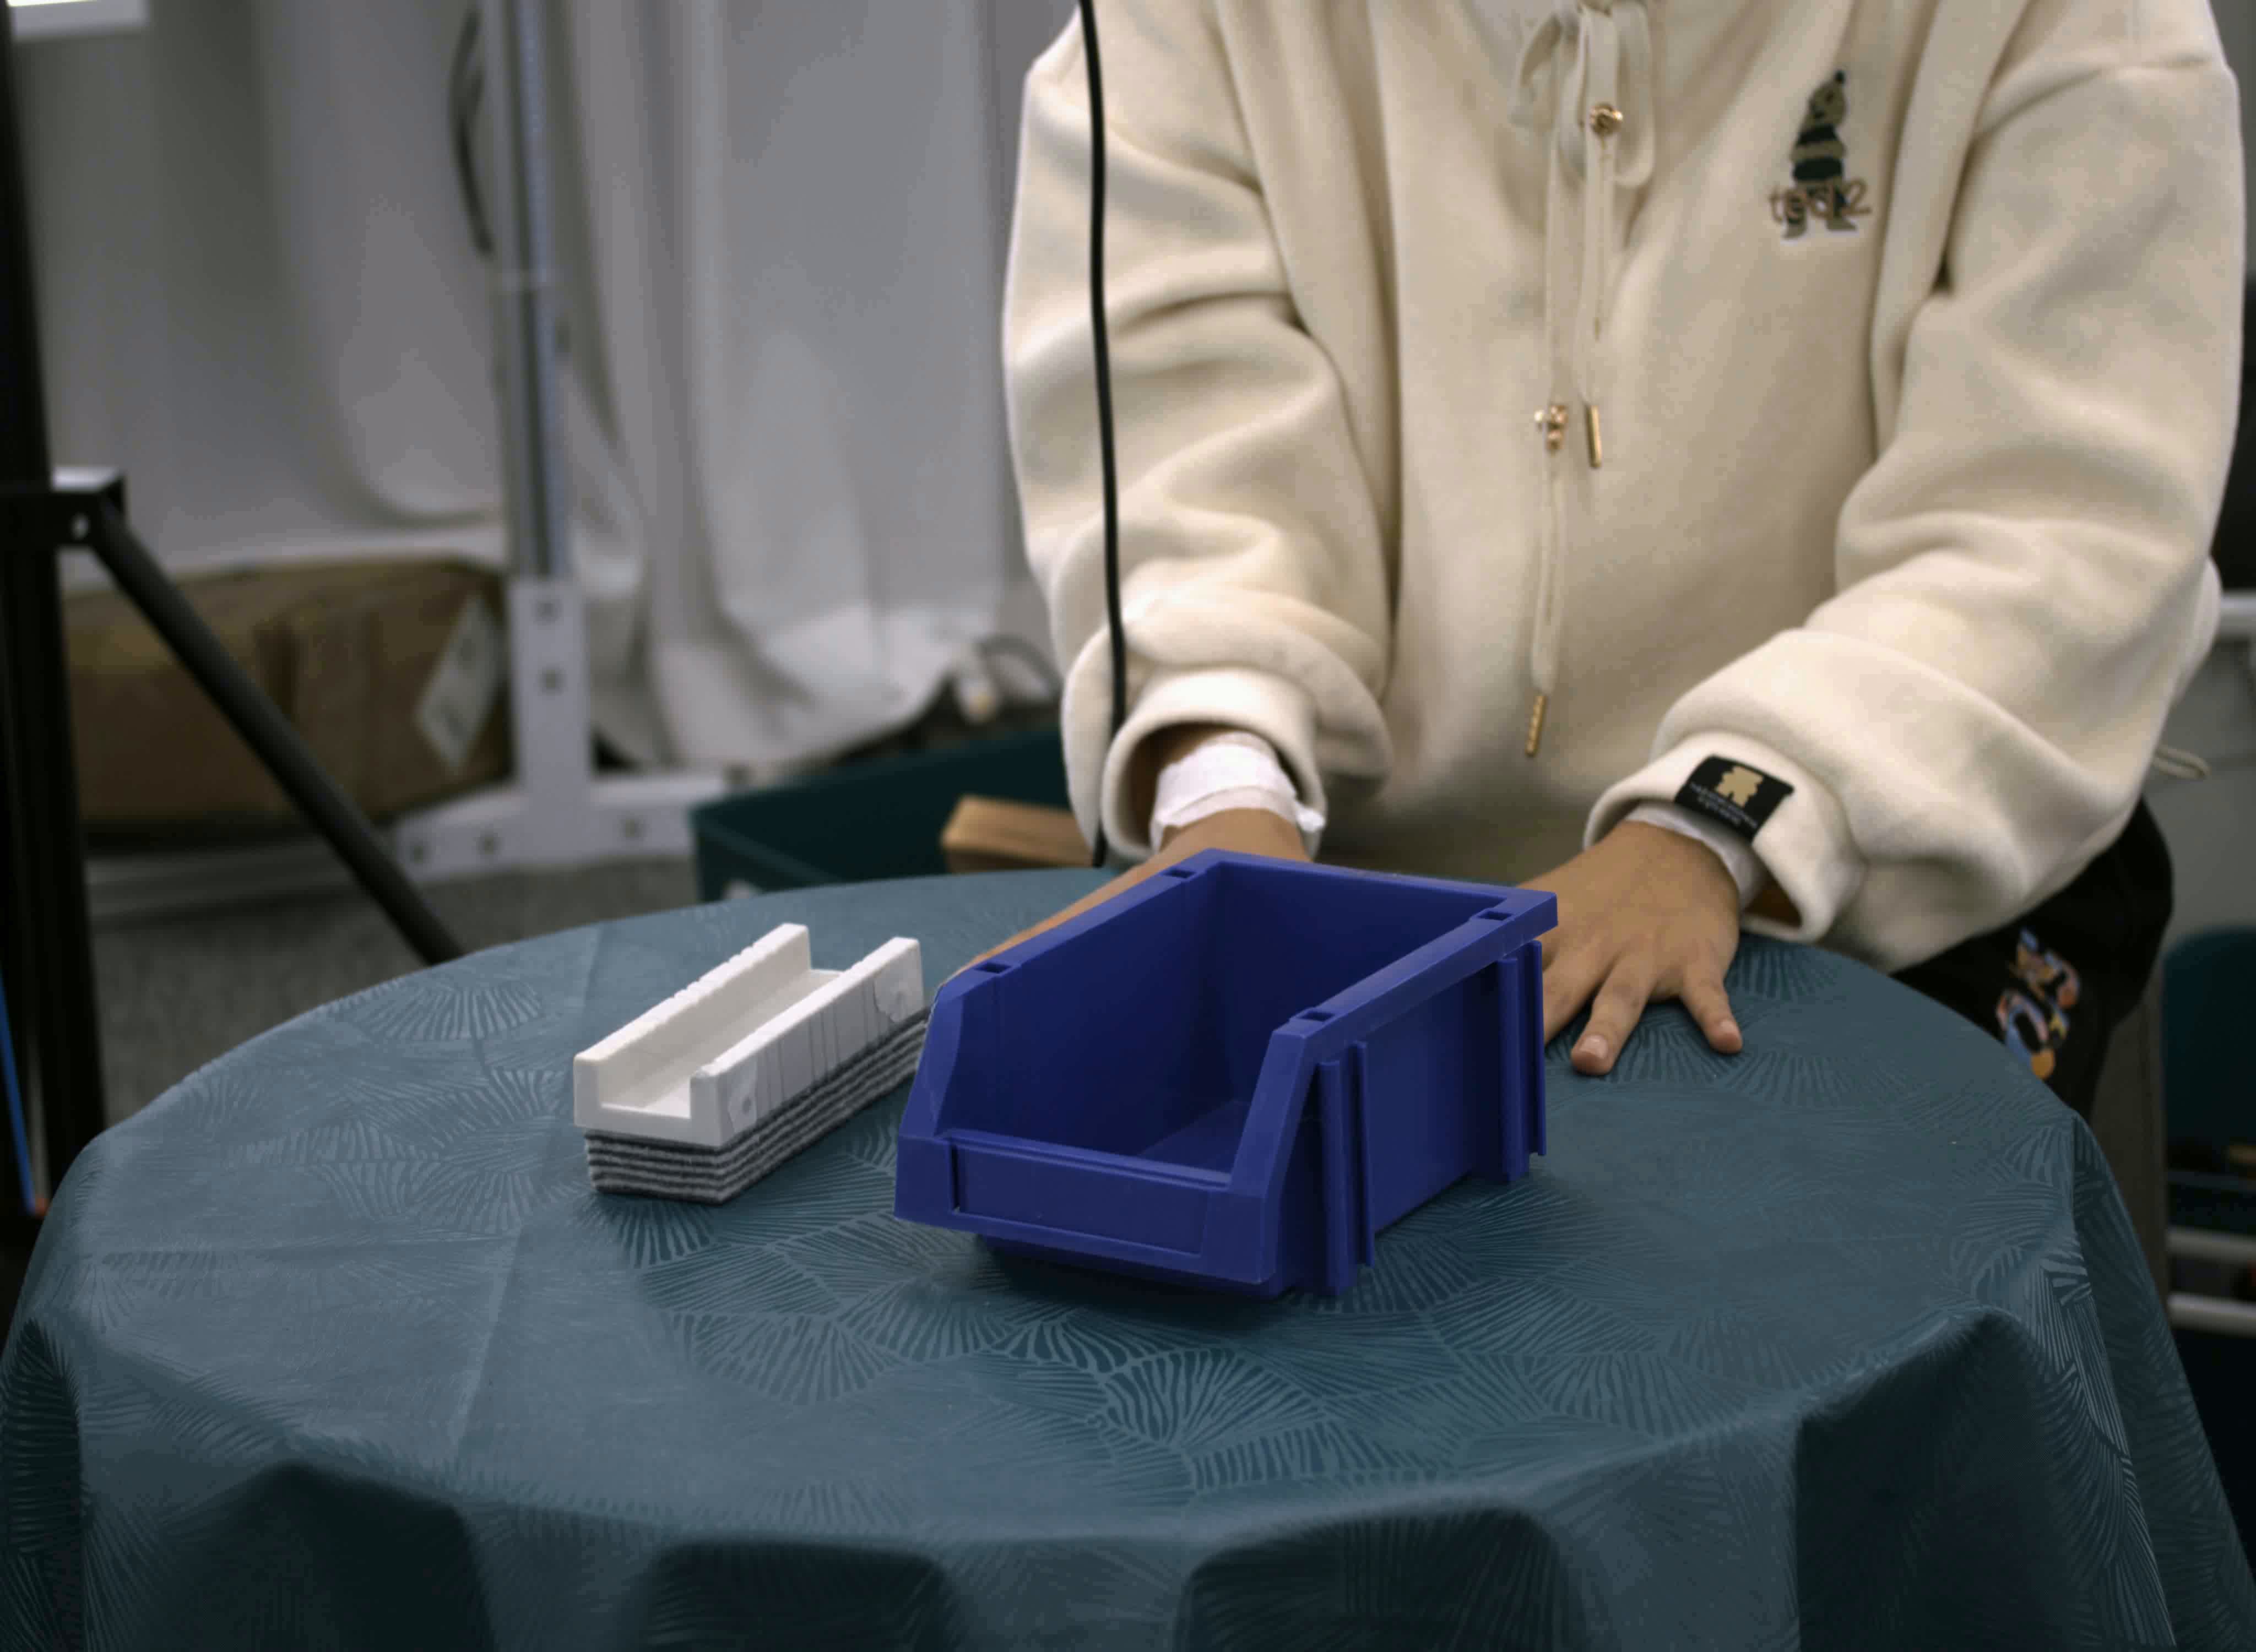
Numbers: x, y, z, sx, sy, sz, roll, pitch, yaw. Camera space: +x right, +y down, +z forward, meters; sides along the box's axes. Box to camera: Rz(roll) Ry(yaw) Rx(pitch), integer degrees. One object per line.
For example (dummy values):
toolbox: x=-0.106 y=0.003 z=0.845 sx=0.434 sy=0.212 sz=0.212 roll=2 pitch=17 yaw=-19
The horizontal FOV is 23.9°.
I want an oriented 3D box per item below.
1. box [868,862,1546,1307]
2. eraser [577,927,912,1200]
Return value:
box: x=0.027 y=0.076 z=1.517 sx=0.127 sy=0.082 sz=0.176 roll=8 pitch=17 yaw=34
eraser: x=-0.115 y=0.071 z=1.622 sx=0.050 sy=0.046 sz=0.132 roll=3 pitch=18 yaw=23
